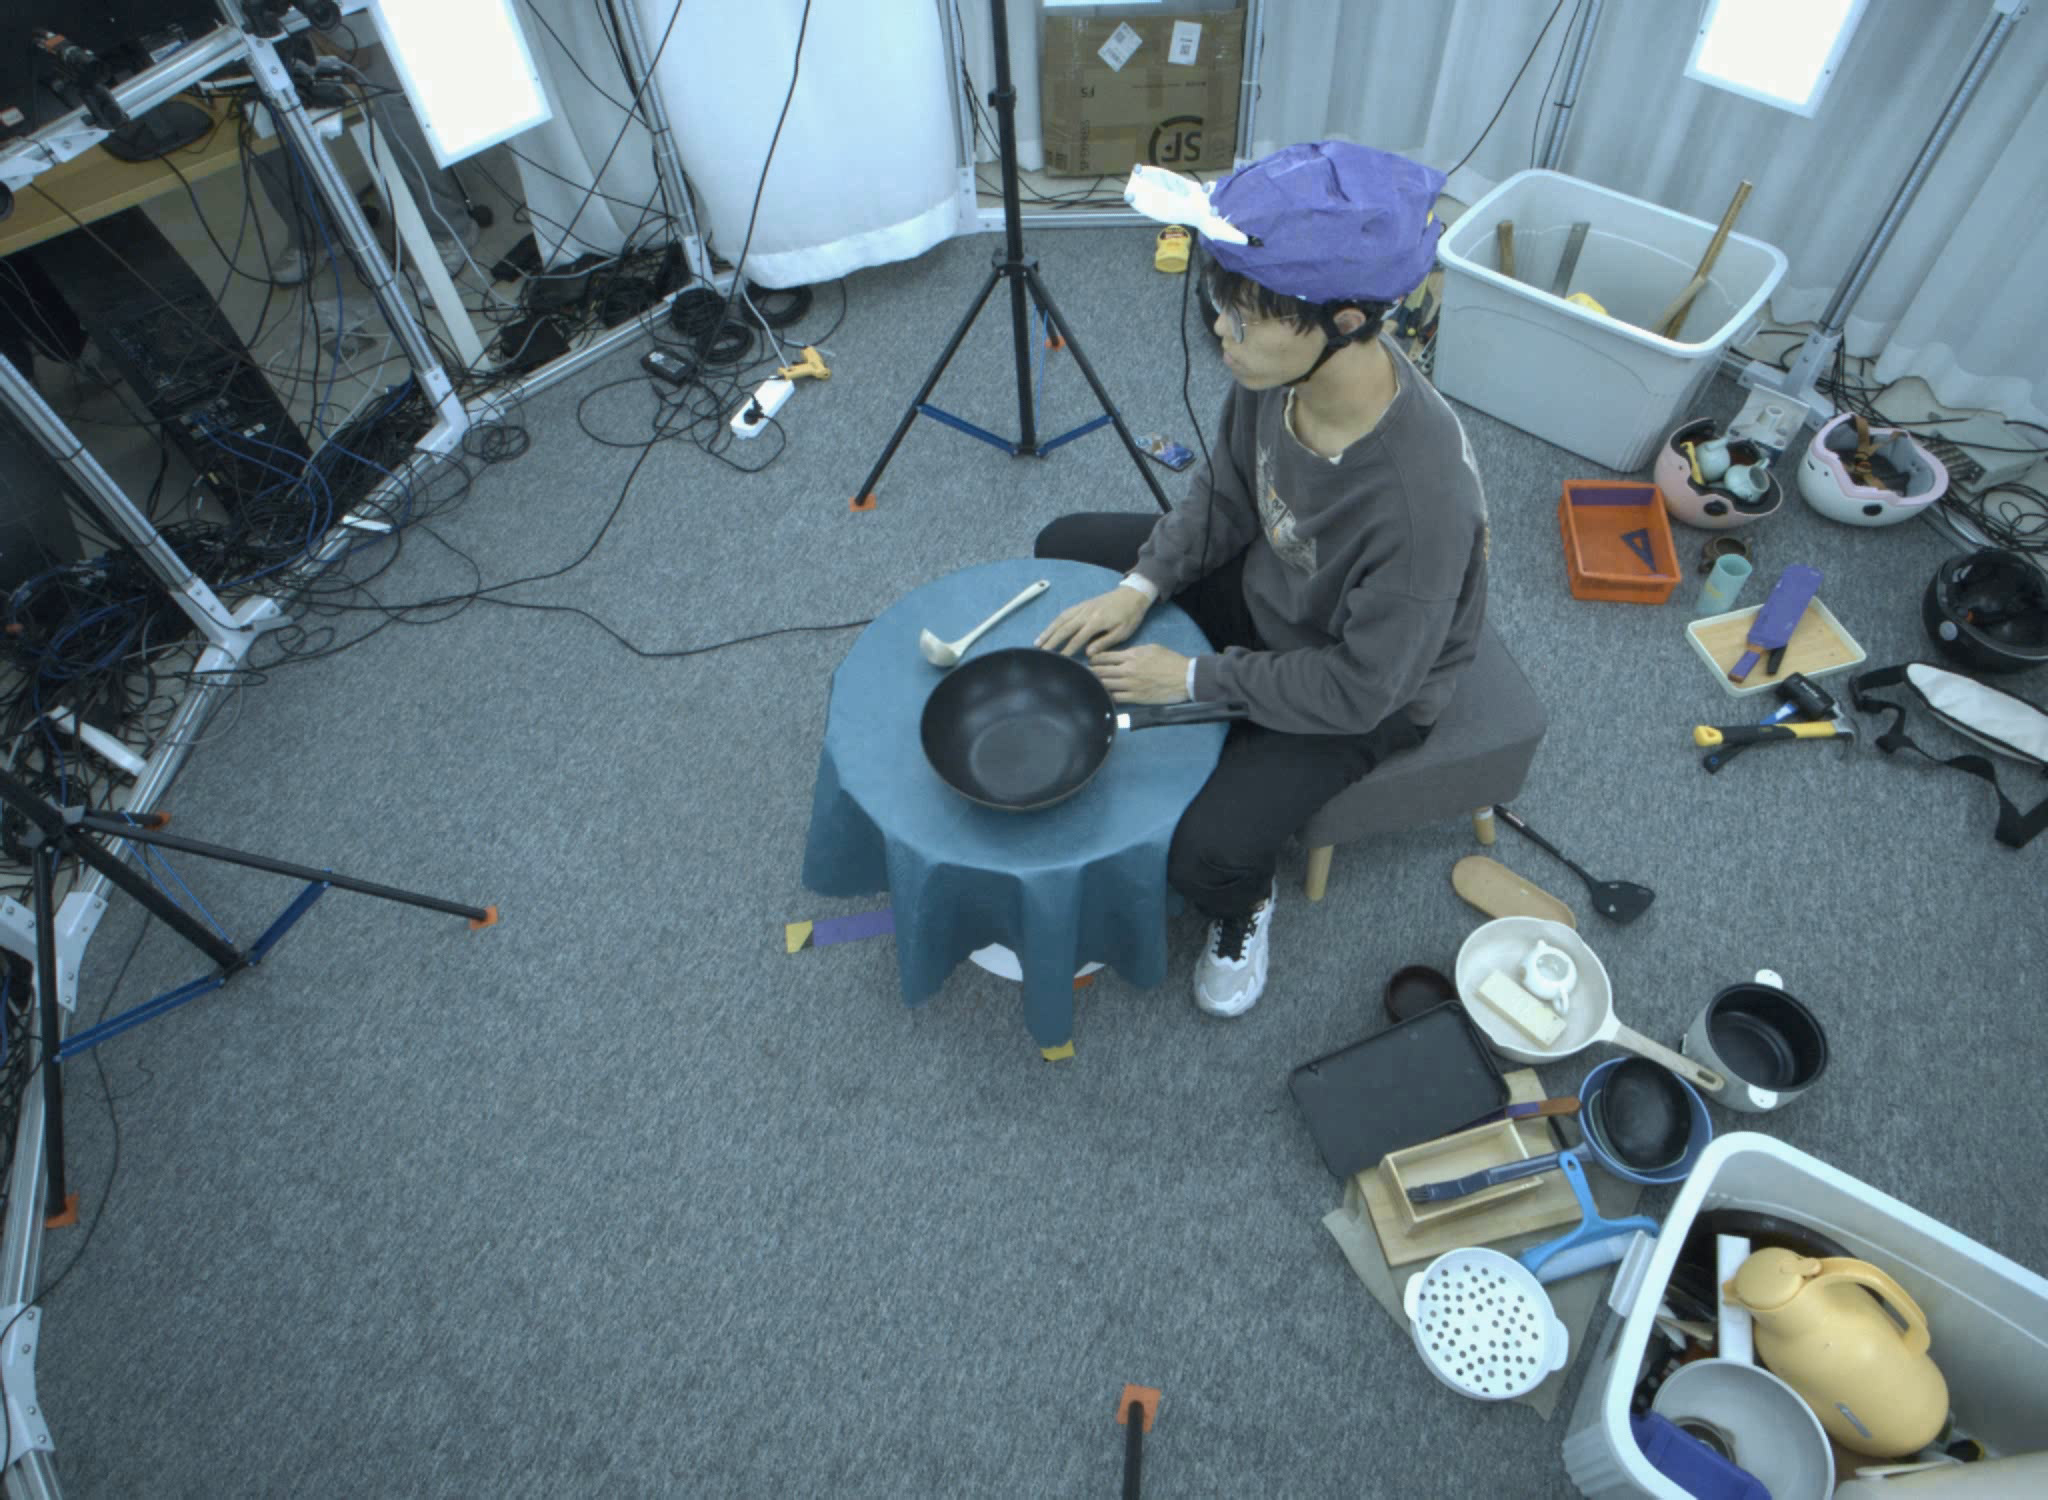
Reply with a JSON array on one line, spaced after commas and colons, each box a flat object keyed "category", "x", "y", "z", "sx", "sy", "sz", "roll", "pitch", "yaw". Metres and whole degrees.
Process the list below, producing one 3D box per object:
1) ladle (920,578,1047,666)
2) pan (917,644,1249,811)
[{"category": "ladle", "x": -0.057, "y": -0.221, "z": 1.901, "sx": 0.070, "sy": 0.074, "sz": 0.256, "roll": 33, "pitch": 62, "yaw": 30}, {"category": "pan", "x": 0.083, "y": -0.023, "z": 1.747, "sx": 0.464, "sy": 0.088, "sz": 0.285, "roll": -3, "pitch": 54, "yaw": -1}]
